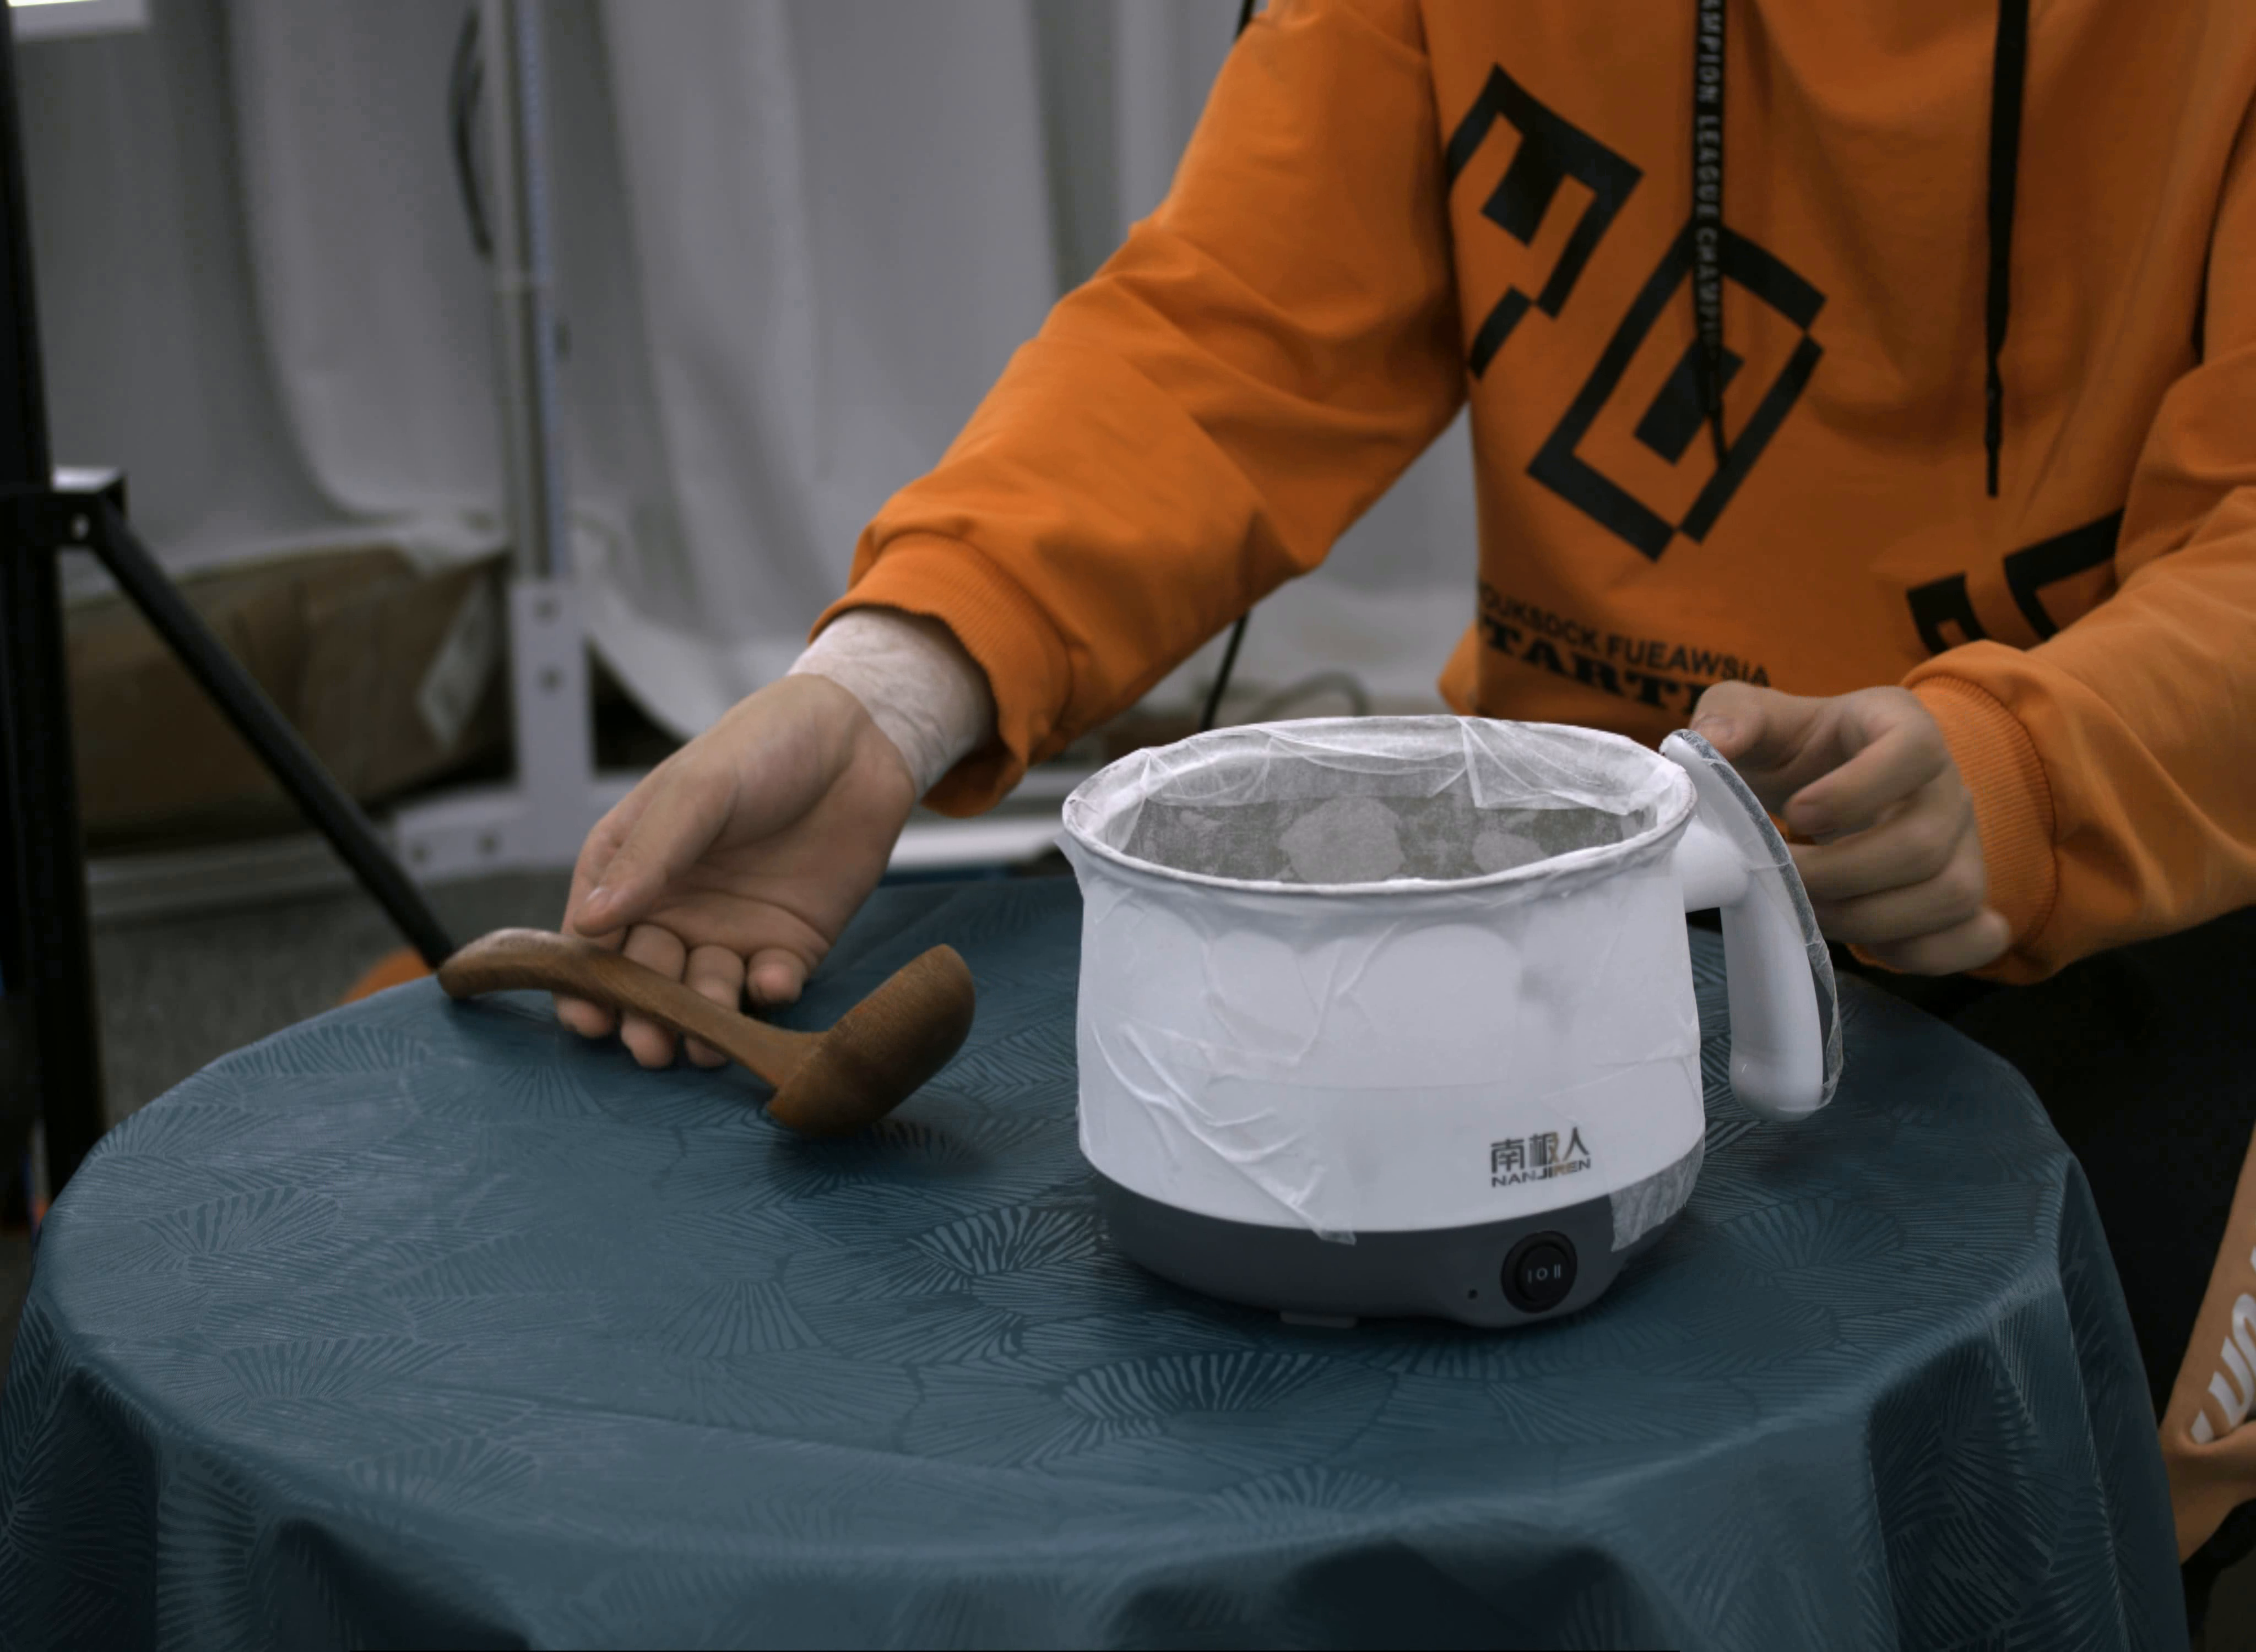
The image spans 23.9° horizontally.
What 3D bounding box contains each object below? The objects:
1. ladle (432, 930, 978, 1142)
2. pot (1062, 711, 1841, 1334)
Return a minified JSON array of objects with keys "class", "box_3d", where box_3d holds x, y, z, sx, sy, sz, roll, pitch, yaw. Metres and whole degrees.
[{"class":"ladle","box_3d":[-0.144,0.049,1.677,0.075,0.065,0.266,-31,30,-33]},{"class":"pot","box_3d":[0.097,0.049,1.499,0.229,0.136,0.182,-10,18,-24]}]
